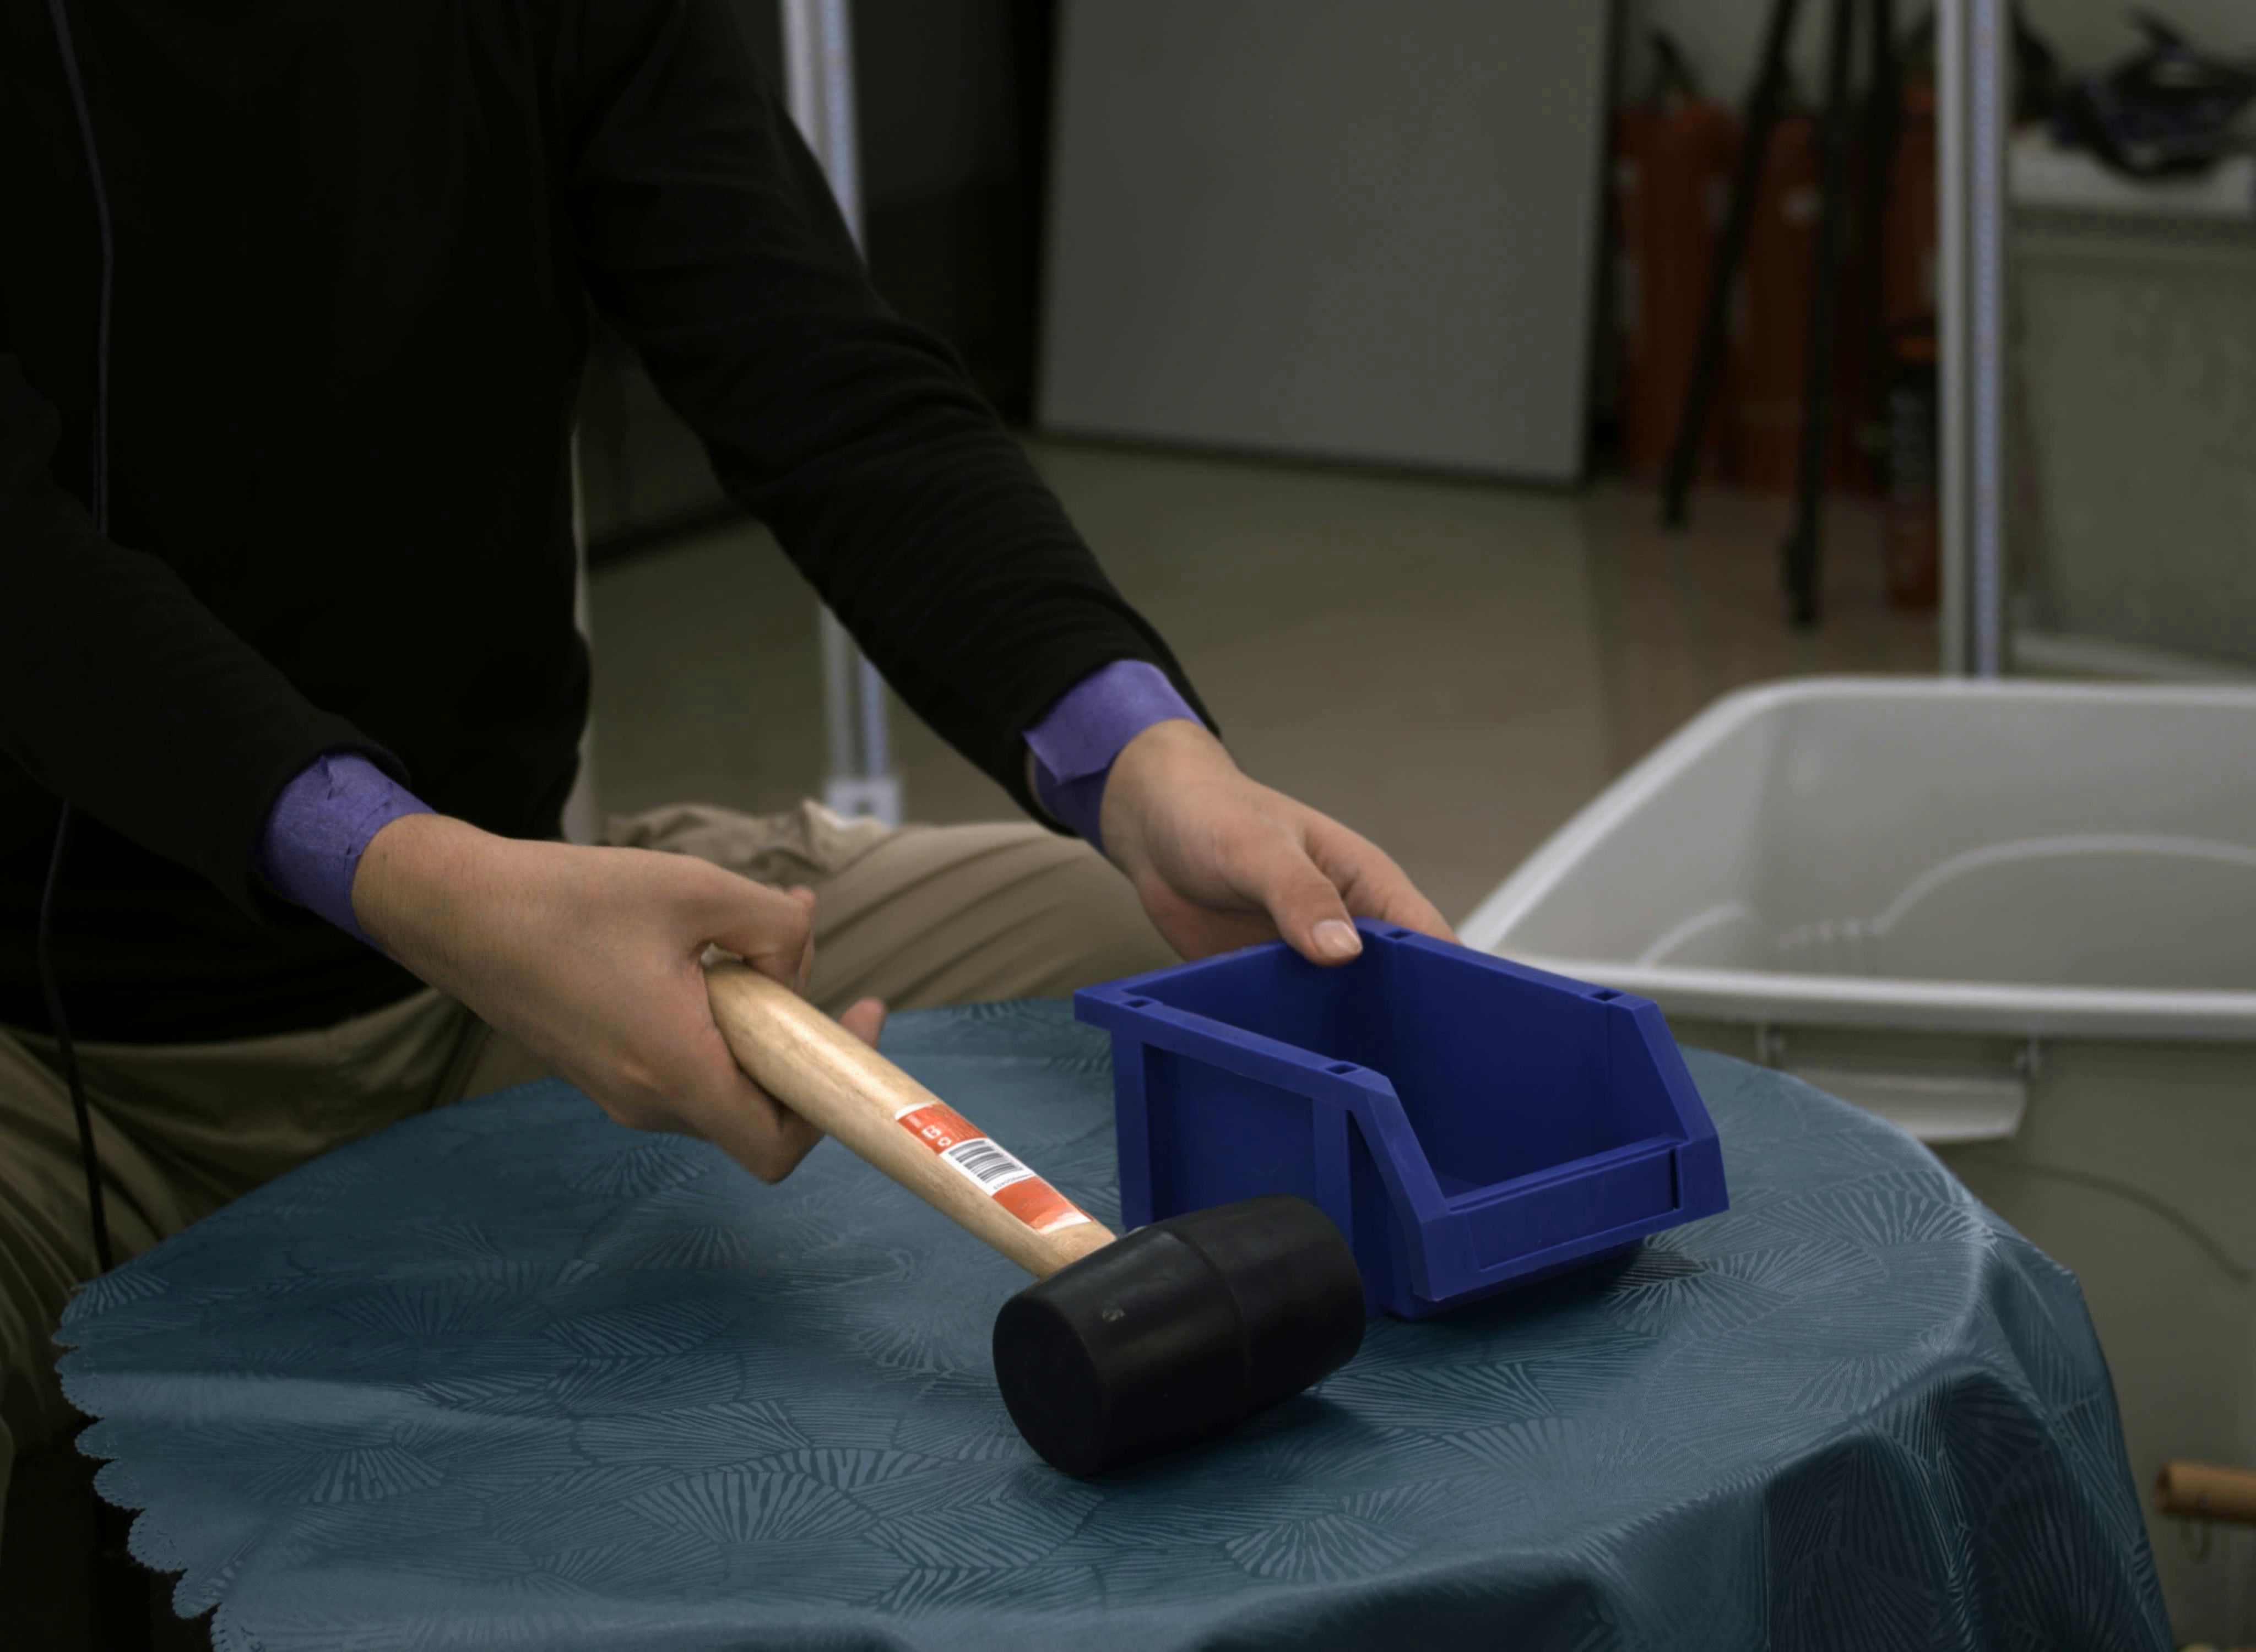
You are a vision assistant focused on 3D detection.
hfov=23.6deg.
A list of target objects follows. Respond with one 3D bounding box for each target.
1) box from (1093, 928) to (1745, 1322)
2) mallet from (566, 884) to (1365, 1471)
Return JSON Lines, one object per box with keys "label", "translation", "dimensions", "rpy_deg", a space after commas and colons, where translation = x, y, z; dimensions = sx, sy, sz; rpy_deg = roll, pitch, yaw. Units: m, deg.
{"label": "box", "translation": [0.091, 0.094, 1.686], "dimensions": [0.122, 0.083, 0.181], "rpy_deg": [-13, 13, -32]}
{"label": "mallet", "translation": [-0.068, 0.087, 1.638], "dimensions": [0.099, 0.065, 0.343], "rpy_deg": [-14, 33, -34]}
